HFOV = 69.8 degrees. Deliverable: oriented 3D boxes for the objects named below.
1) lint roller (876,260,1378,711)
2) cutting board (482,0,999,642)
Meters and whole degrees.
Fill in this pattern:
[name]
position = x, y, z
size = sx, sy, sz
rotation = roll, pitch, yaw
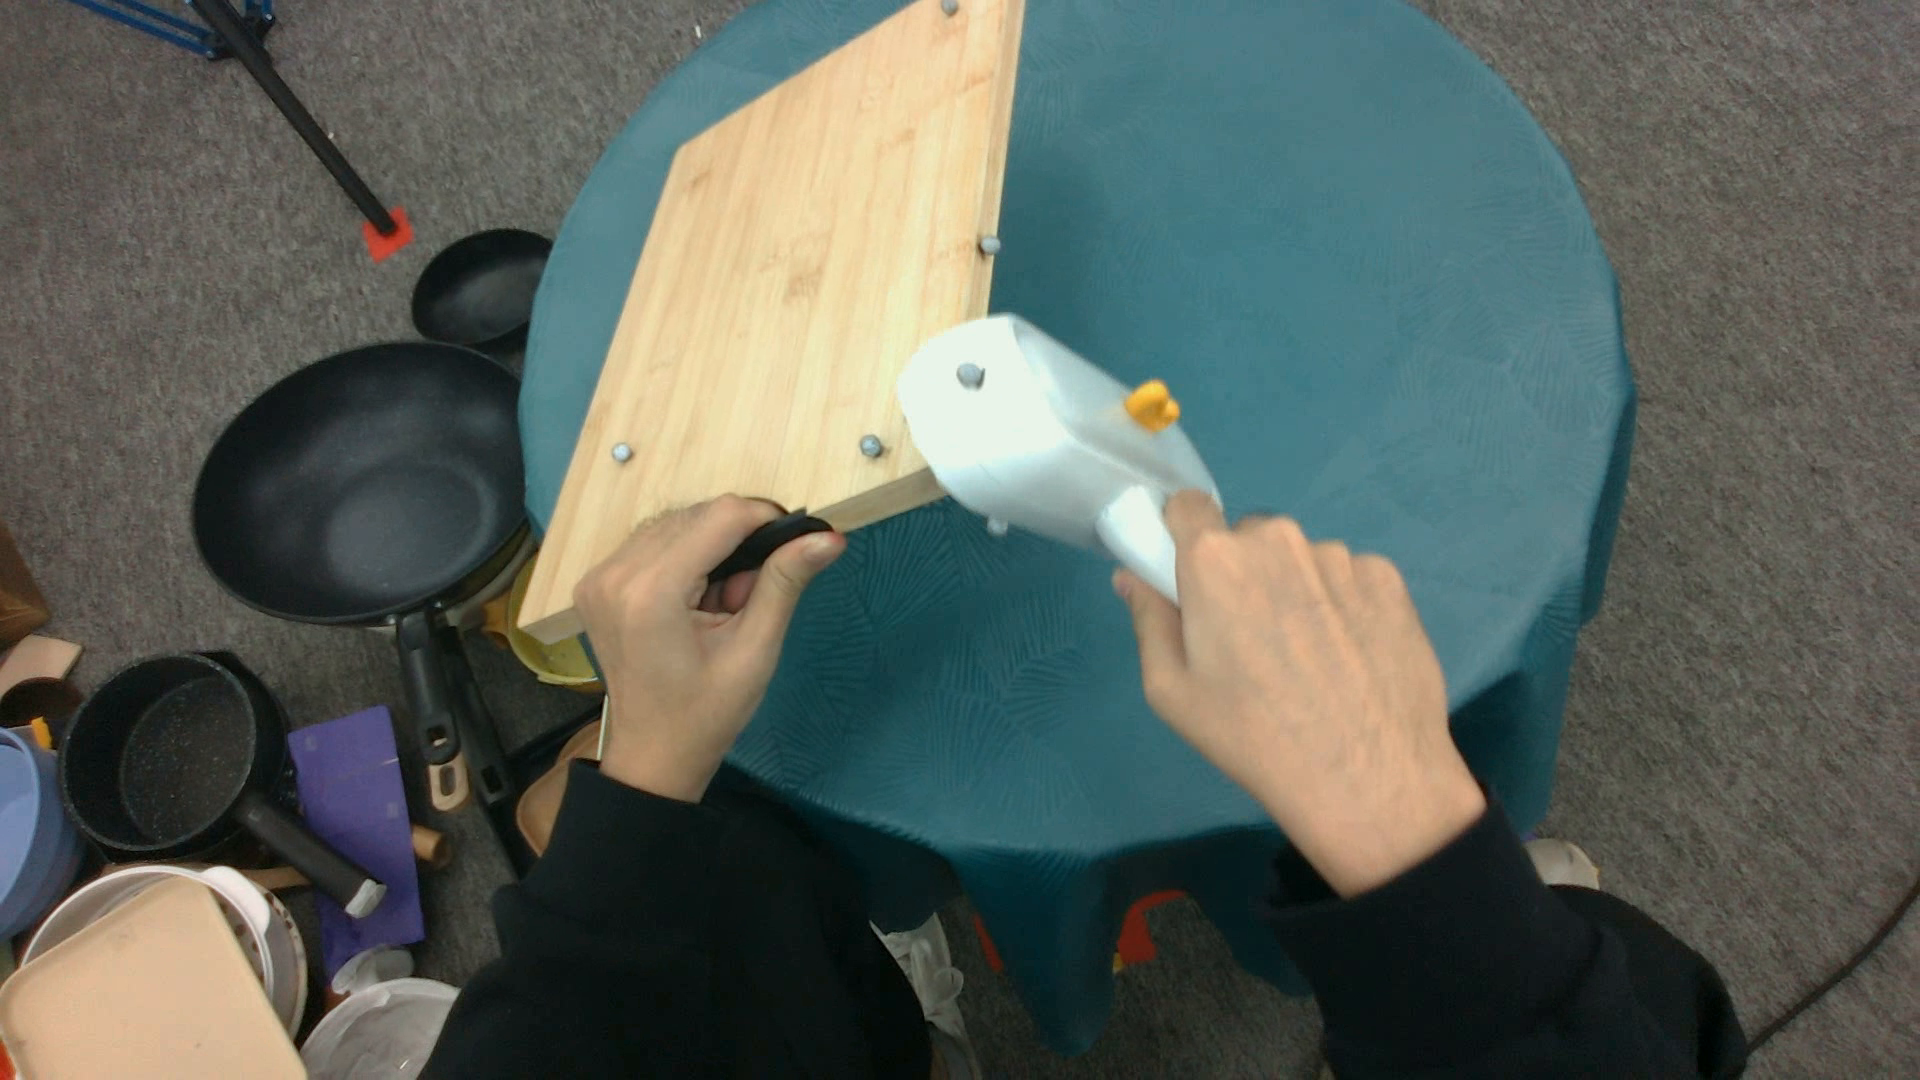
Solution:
[lint roller]
position = 0.071, -0.008, 0.502
size = 0.074, 0.193, 0.192
rotation = -39, 69, 14
[cutting board]
position = -0.095, -0.131, 0.657
size = 0.250, 0.023, 0.350
rotation = -20, 48, 30
